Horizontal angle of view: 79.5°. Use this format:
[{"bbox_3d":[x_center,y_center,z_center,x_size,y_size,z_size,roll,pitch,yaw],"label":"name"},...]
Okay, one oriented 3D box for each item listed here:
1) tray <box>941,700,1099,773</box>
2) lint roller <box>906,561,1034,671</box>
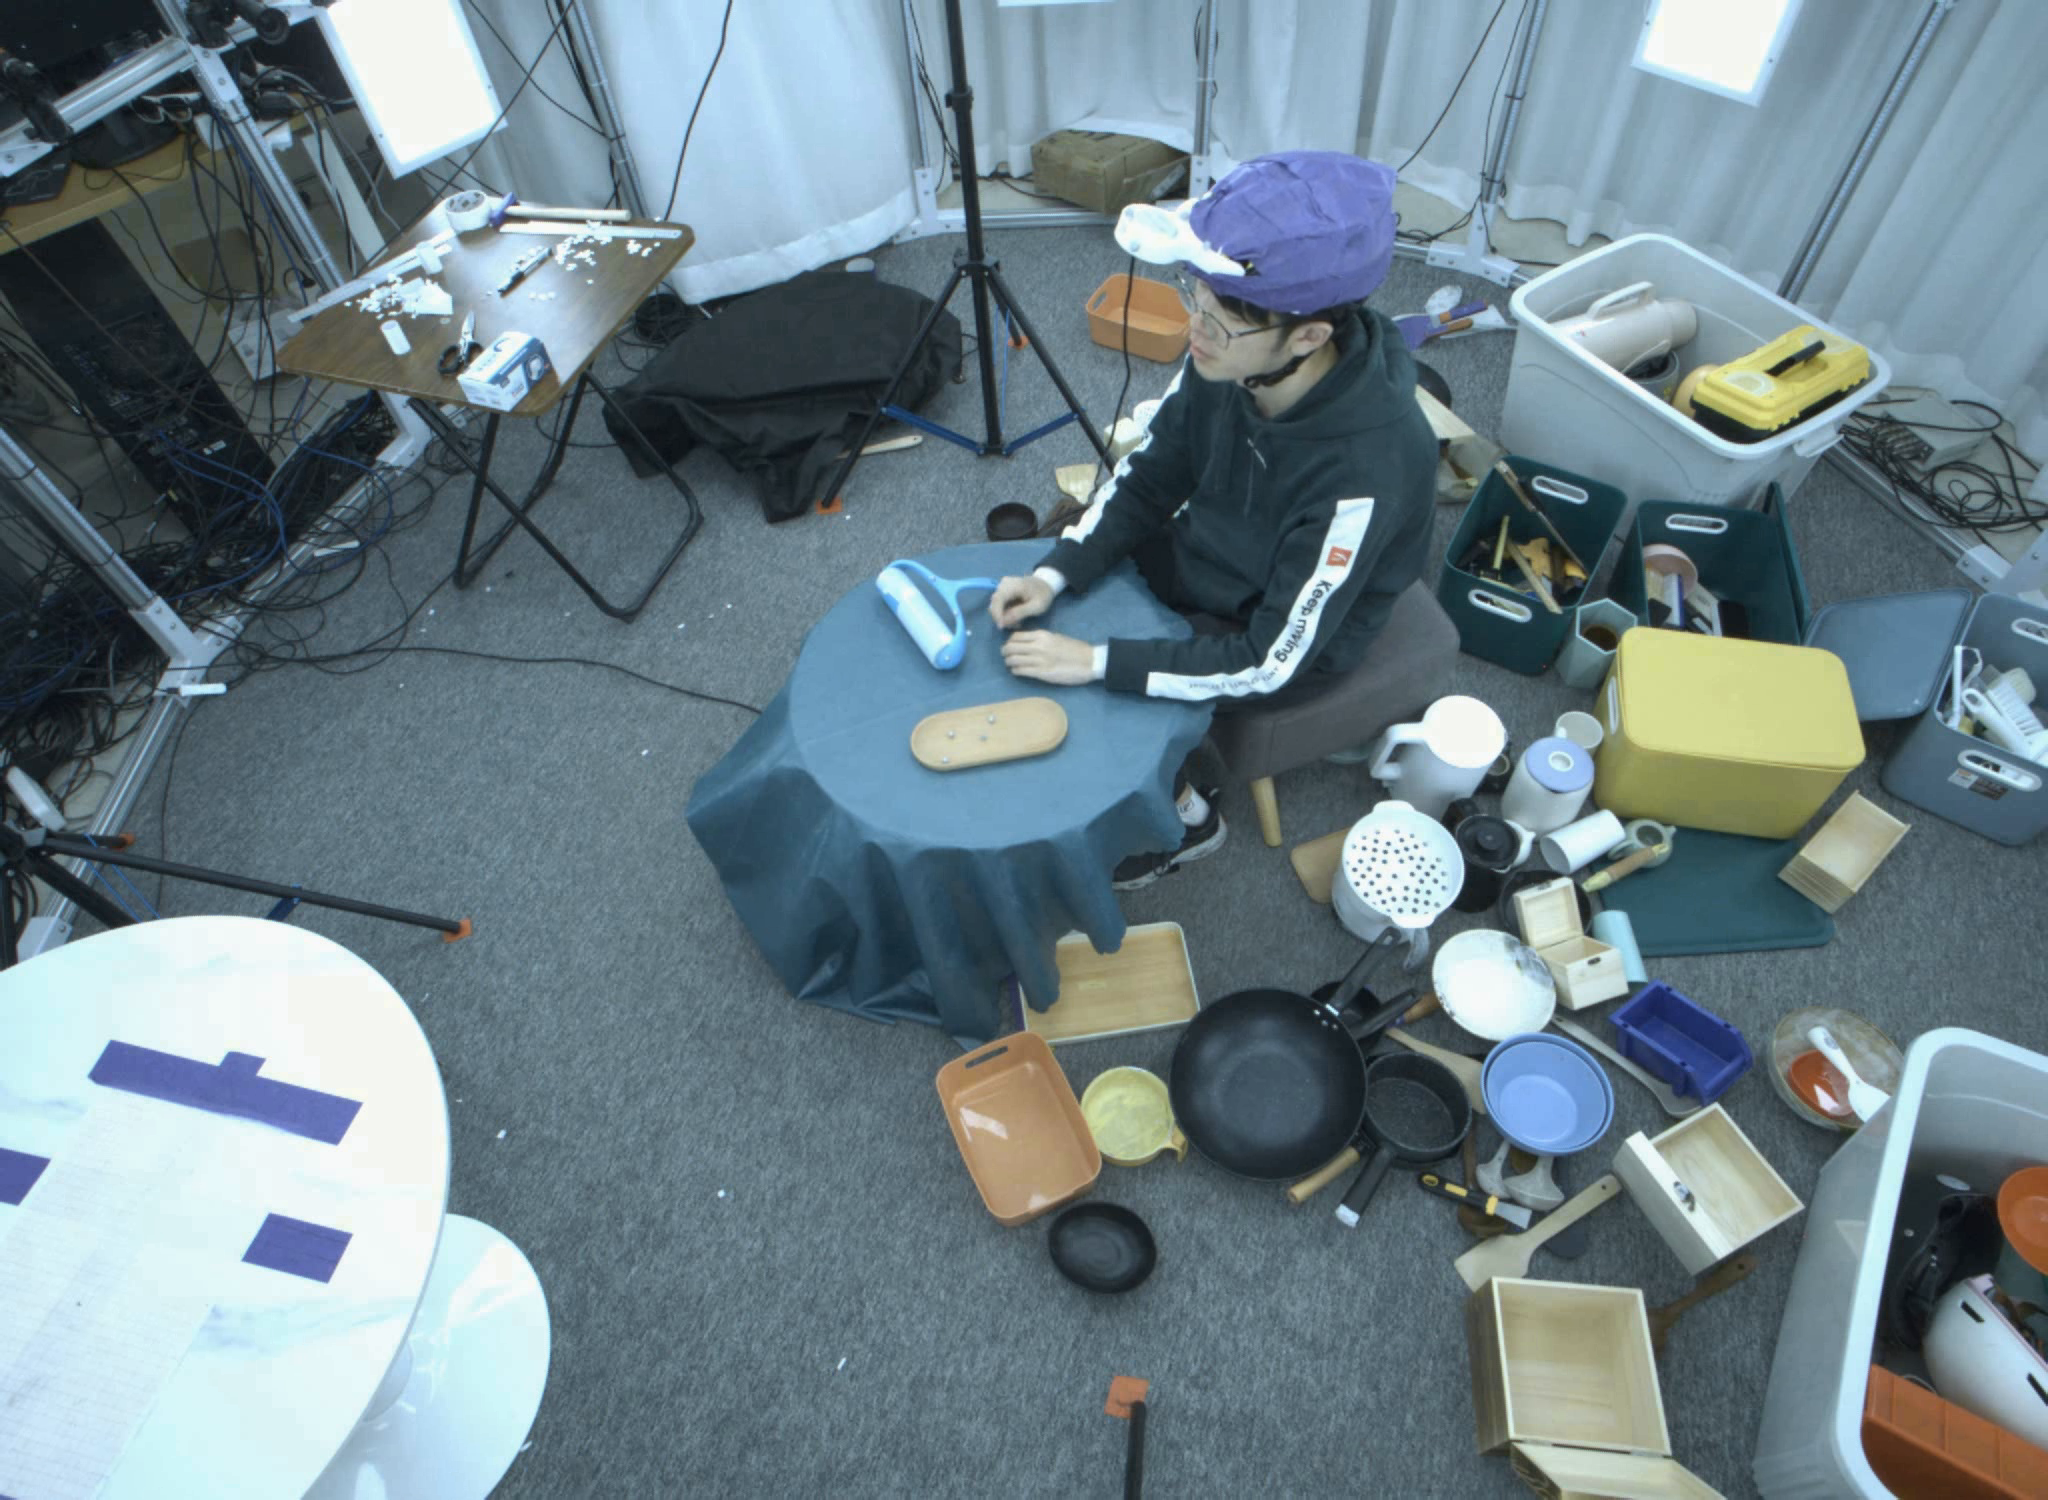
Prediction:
[{"bbox_3d":[-0.006,-0.020,1.787,0.232,0.020,0.100,-8,56,-6],"label":"tray"},{"bbox_3d":[-0.067,-0.233,1.915,0.181,0.069,0.224,-29,57,-16],"label":"lint roller"}]
